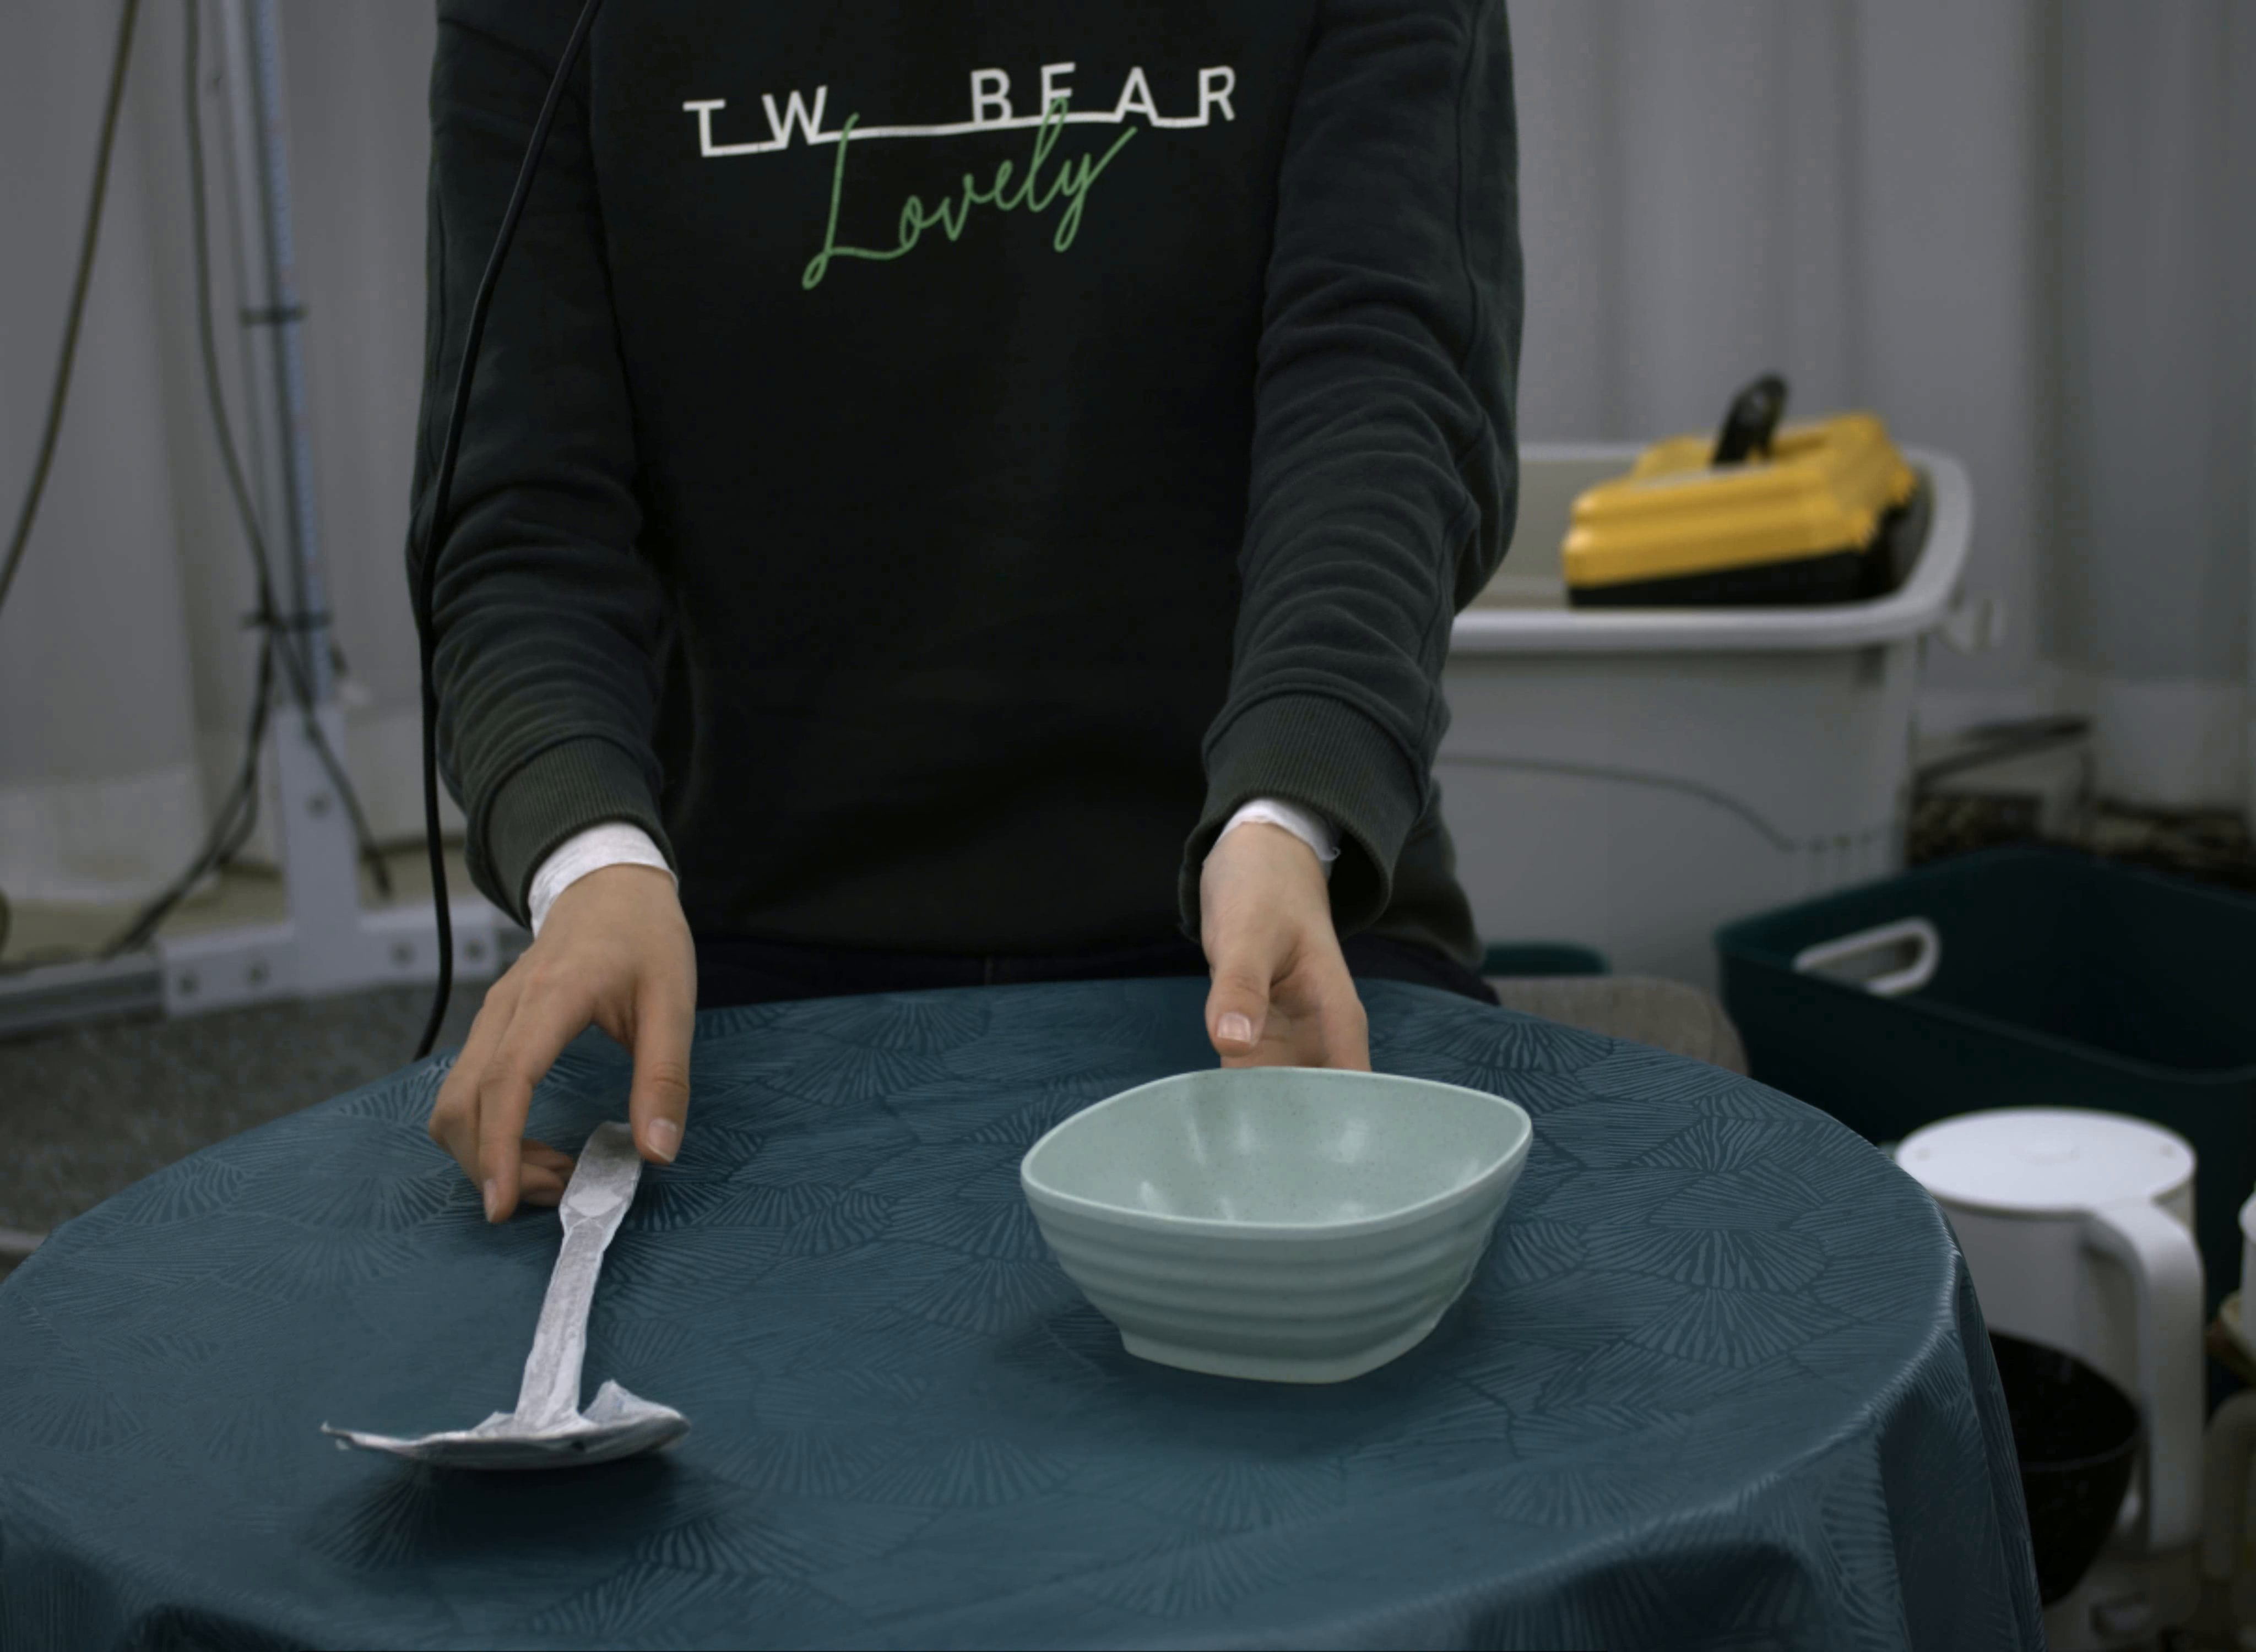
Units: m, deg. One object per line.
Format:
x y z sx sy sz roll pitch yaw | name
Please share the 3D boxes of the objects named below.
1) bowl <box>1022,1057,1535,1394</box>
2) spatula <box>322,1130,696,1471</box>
0.044 0.119 1.582 0.151 0.058 0.152 -1 17 0 | bowl
-0.160 0.131 1.610 0.098 0.044 0.367 -4 15 3 | spatula
